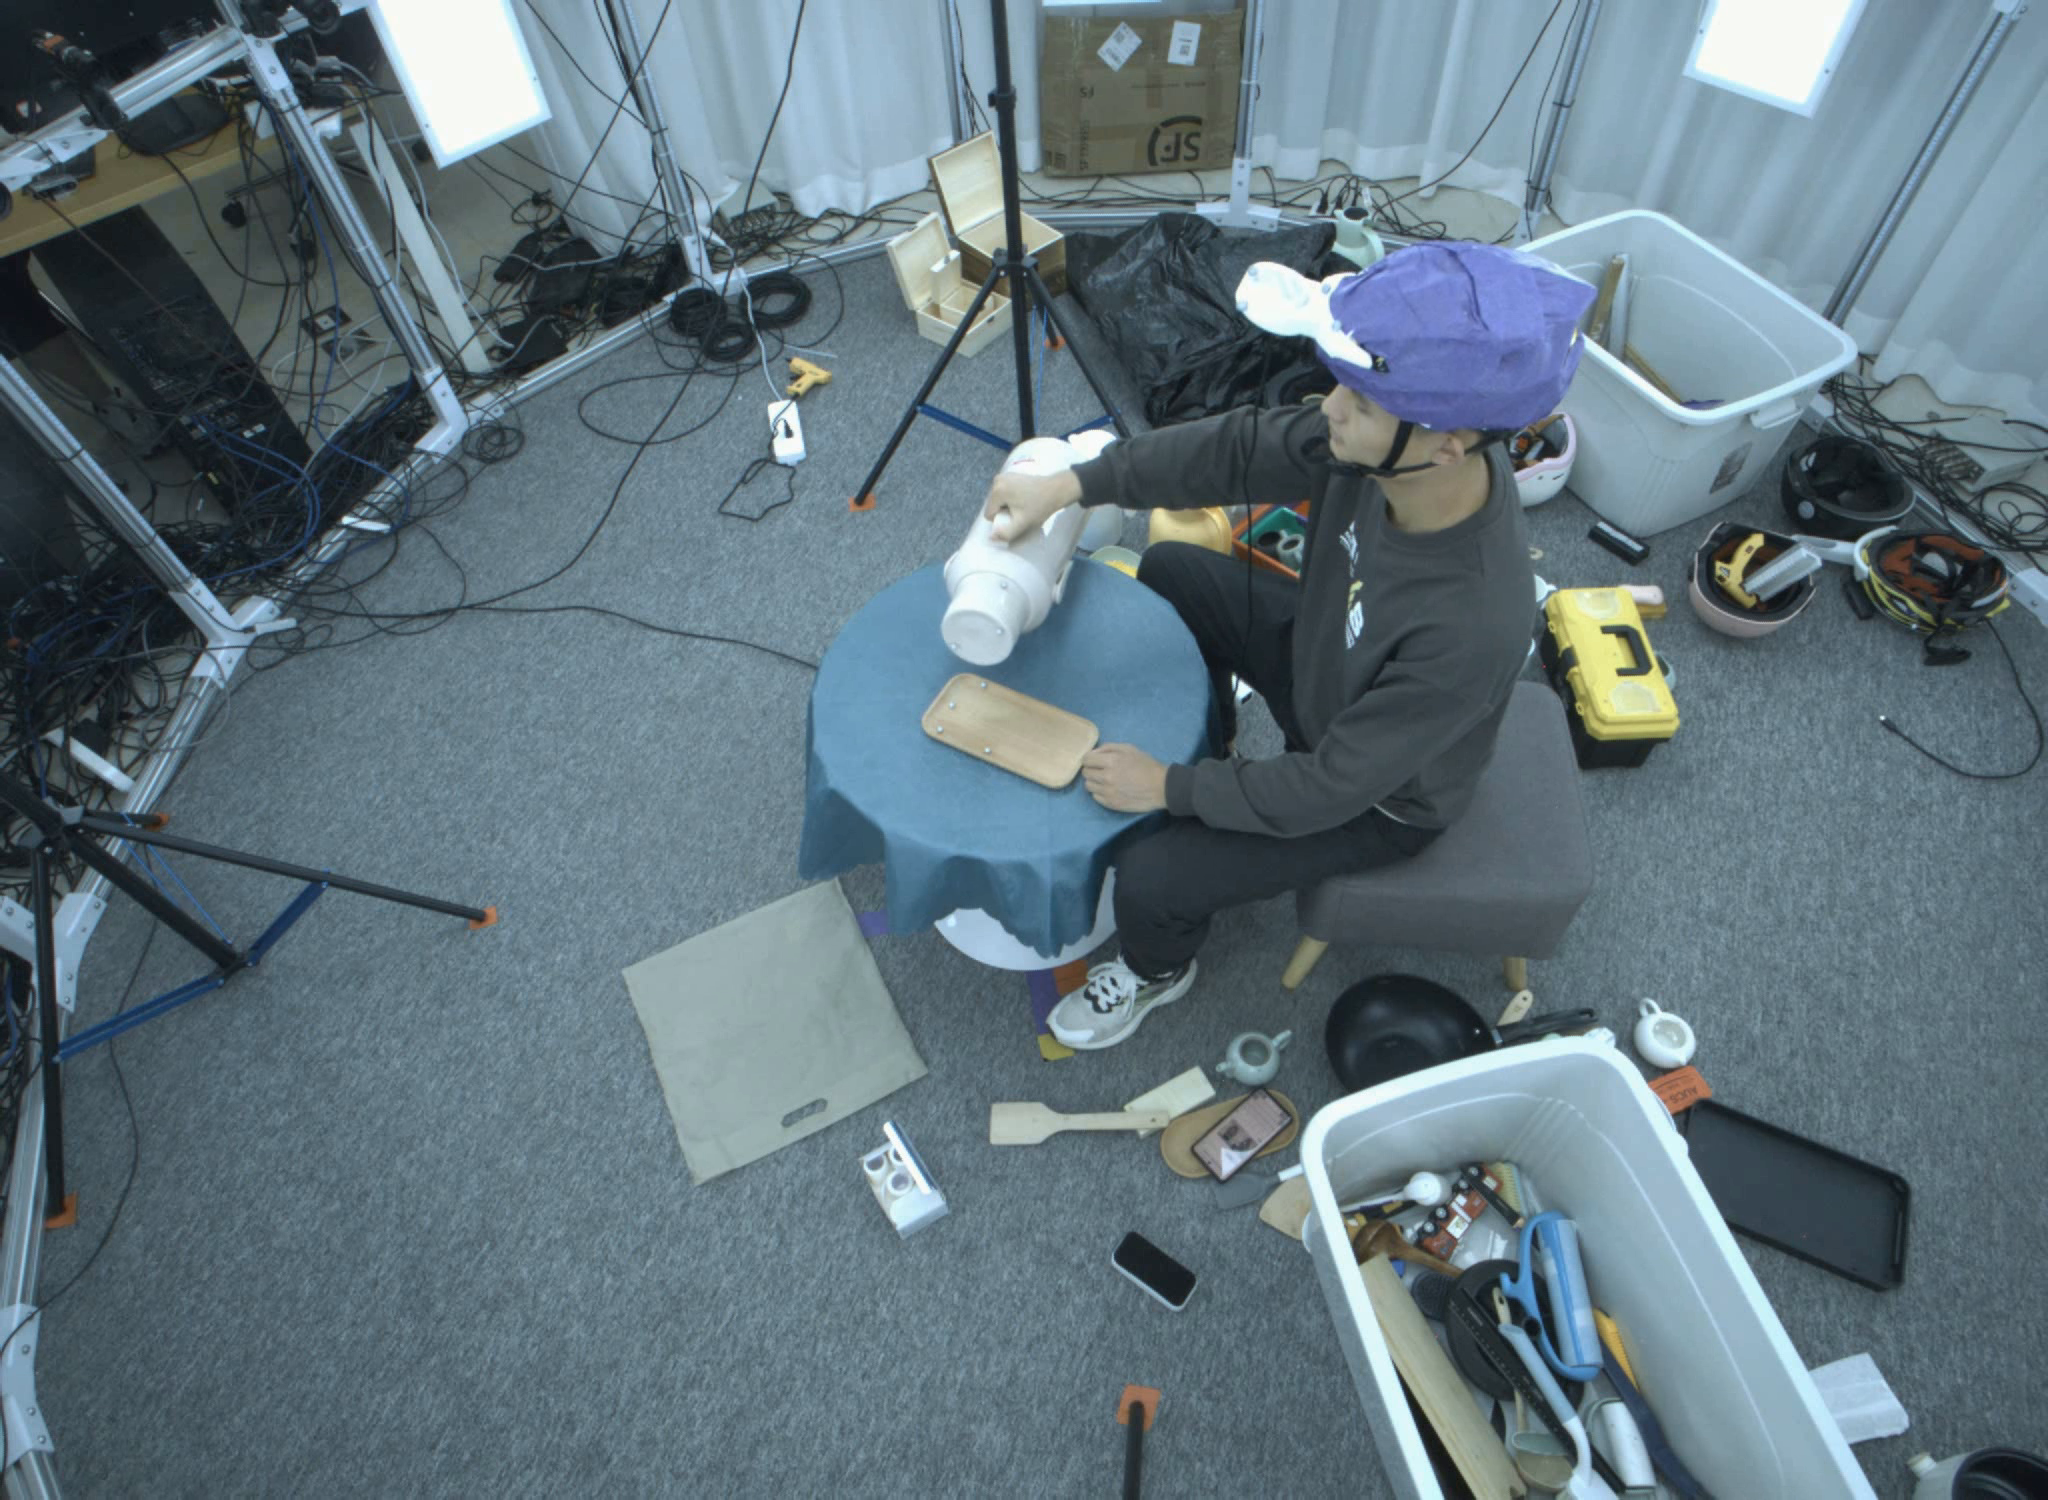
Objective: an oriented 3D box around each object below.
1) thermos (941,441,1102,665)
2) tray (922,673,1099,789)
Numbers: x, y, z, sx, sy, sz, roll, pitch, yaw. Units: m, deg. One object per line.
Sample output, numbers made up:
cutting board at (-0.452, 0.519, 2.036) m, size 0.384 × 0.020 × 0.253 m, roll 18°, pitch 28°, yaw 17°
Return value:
thermos at (-0.007, -0.303, 1.812) m, size 0.174 × 0.209 × 0.405 m, roll 14°, pitch 47°, yaw 11°
tray at (-0.020, -0.029, 1.797) m, size 0.247 × 0.023 × 0.131 m, roll 24°, pitch 61°, yaw 17°
